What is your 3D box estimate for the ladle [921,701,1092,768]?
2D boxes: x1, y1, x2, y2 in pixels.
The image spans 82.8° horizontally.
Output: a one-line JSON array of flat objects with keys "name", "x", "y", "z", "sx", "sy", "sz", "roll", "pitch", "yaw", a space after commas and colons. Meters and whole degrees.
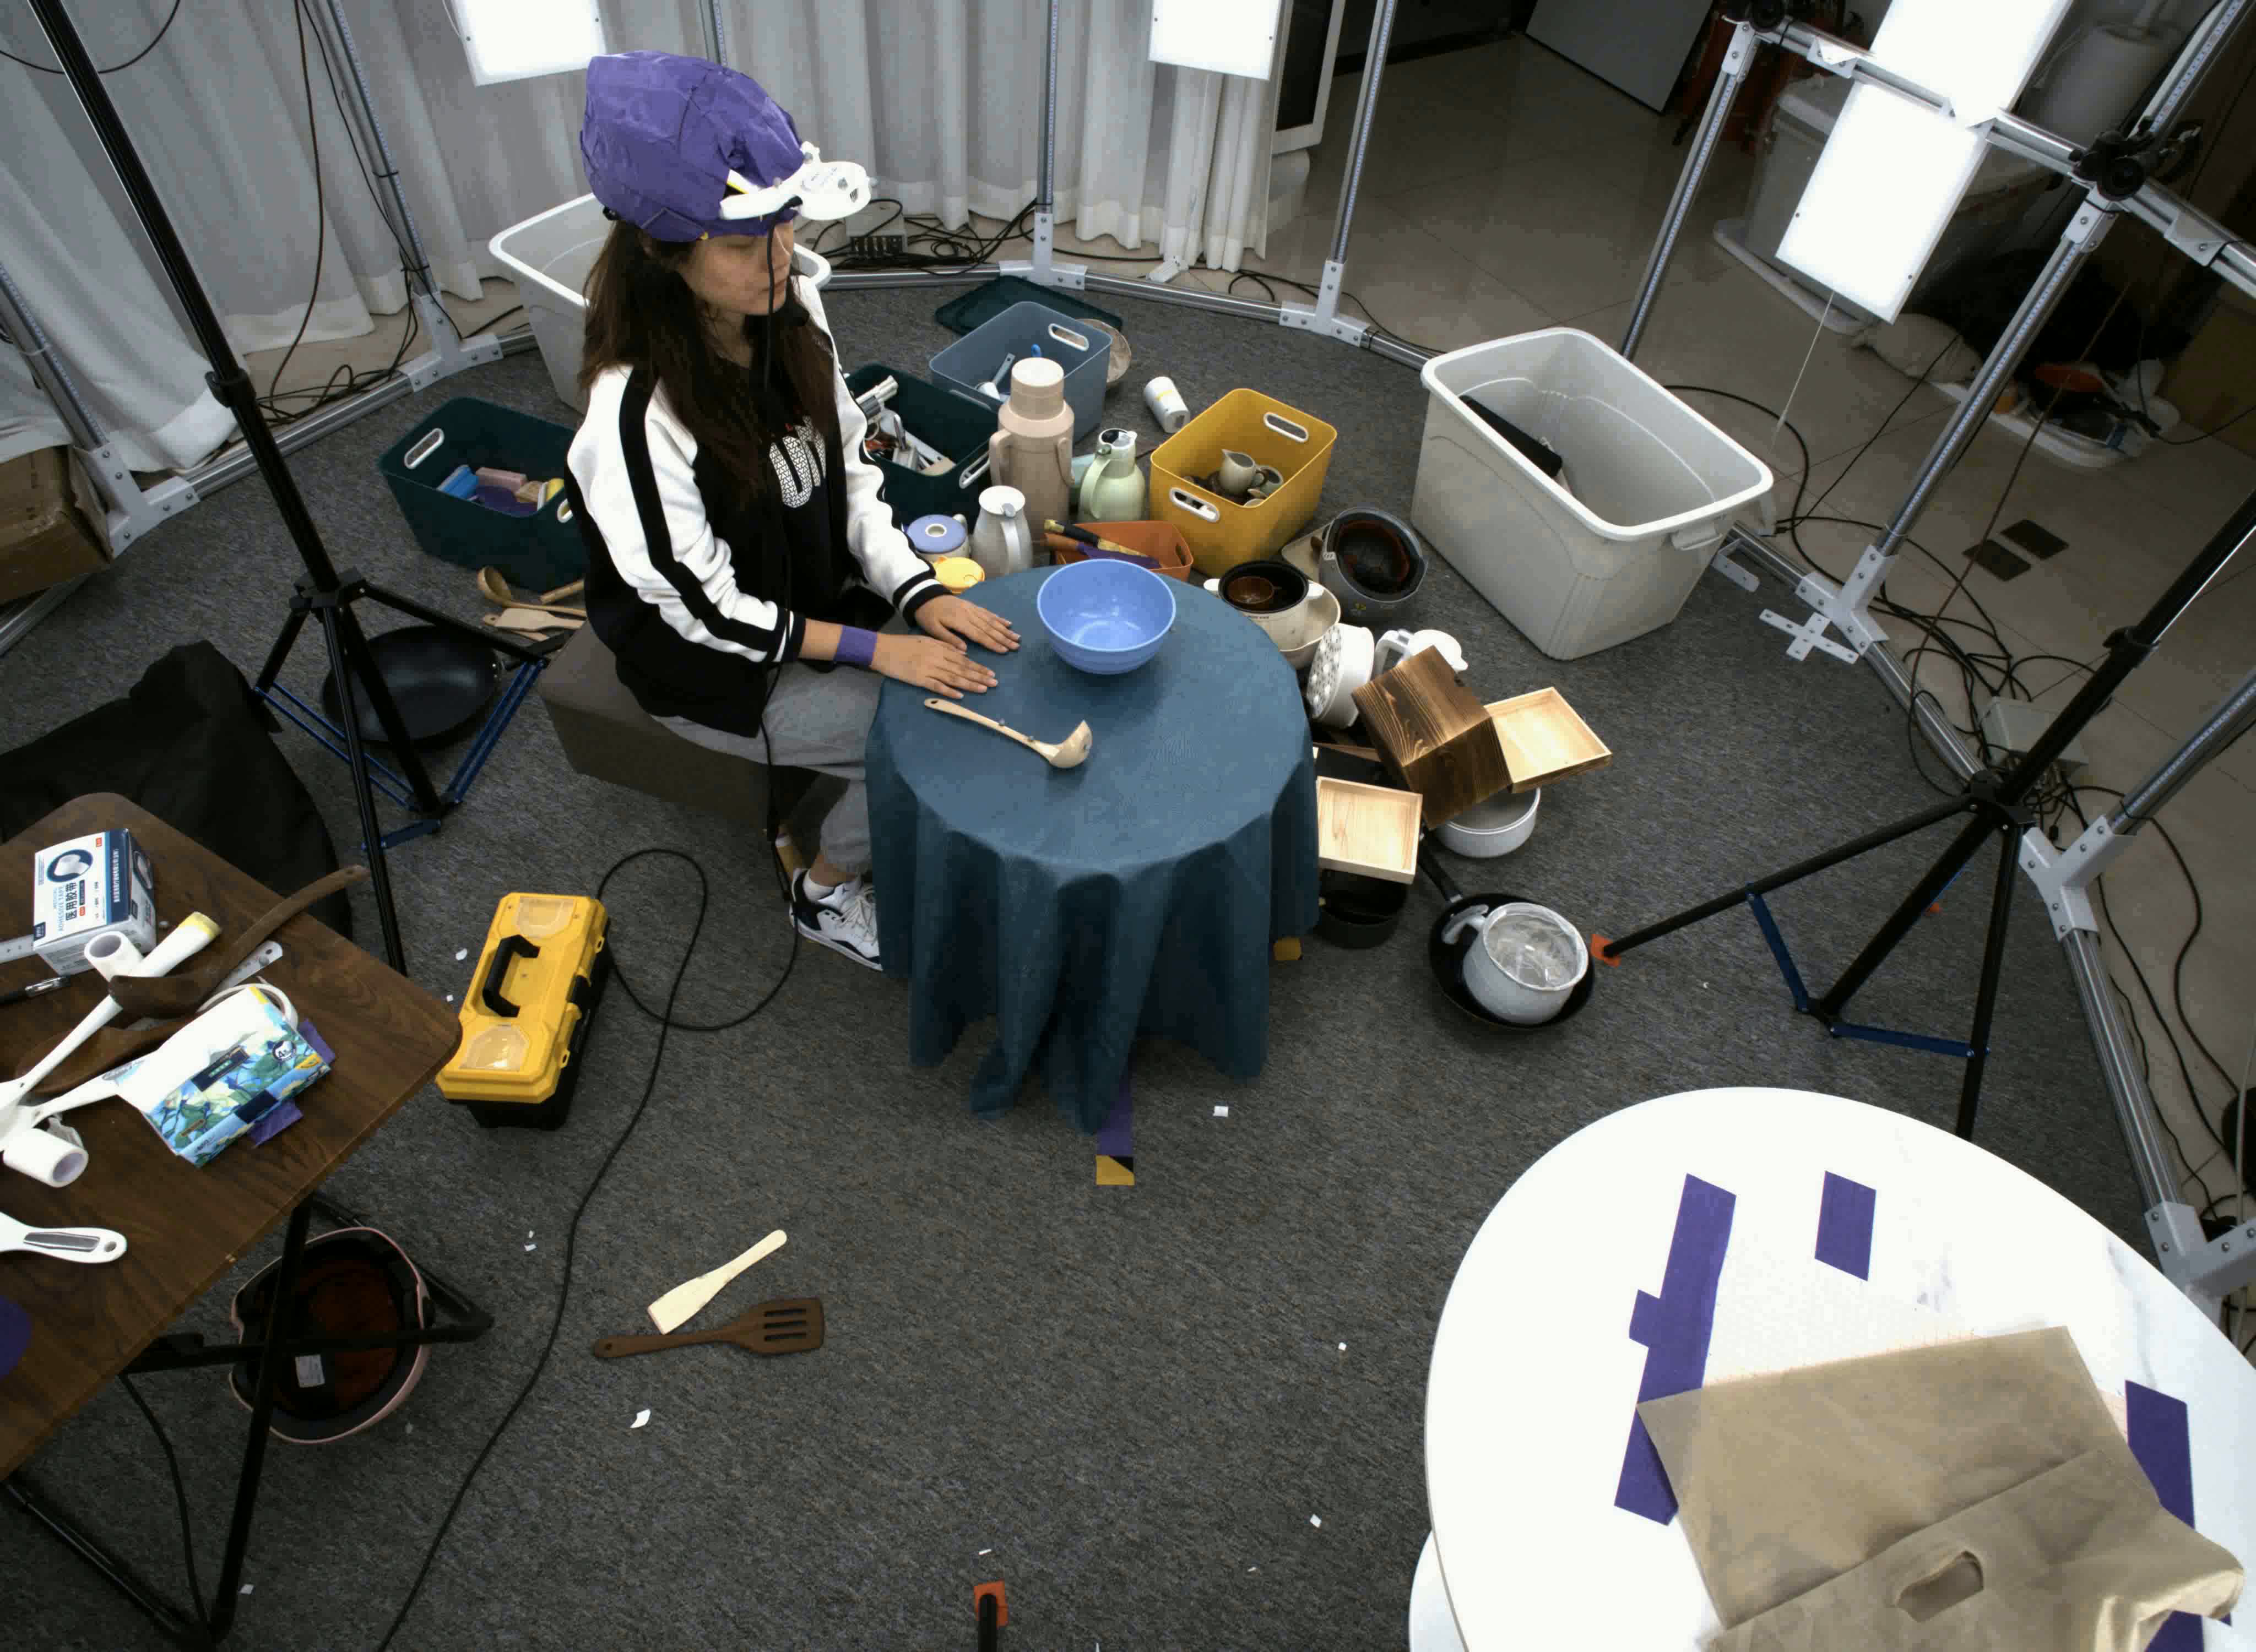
[{"name": "ladle", "x": -0.170, "y": -0.148, "z": 1.740, "sx": 0.256, "sy": 0.071, "sz": 0.073, "roll": 22, "pitch": 50, "yaw": 14}]

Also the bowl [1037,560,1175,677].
[{"name": "bowl", "x": -0.032, "y": -0.283, "z": 1.857, "sx": 0.196, "sy": 0.093, "sz": 0.201, "roll": 1, "pitch": 50, "yaw": -2}]
